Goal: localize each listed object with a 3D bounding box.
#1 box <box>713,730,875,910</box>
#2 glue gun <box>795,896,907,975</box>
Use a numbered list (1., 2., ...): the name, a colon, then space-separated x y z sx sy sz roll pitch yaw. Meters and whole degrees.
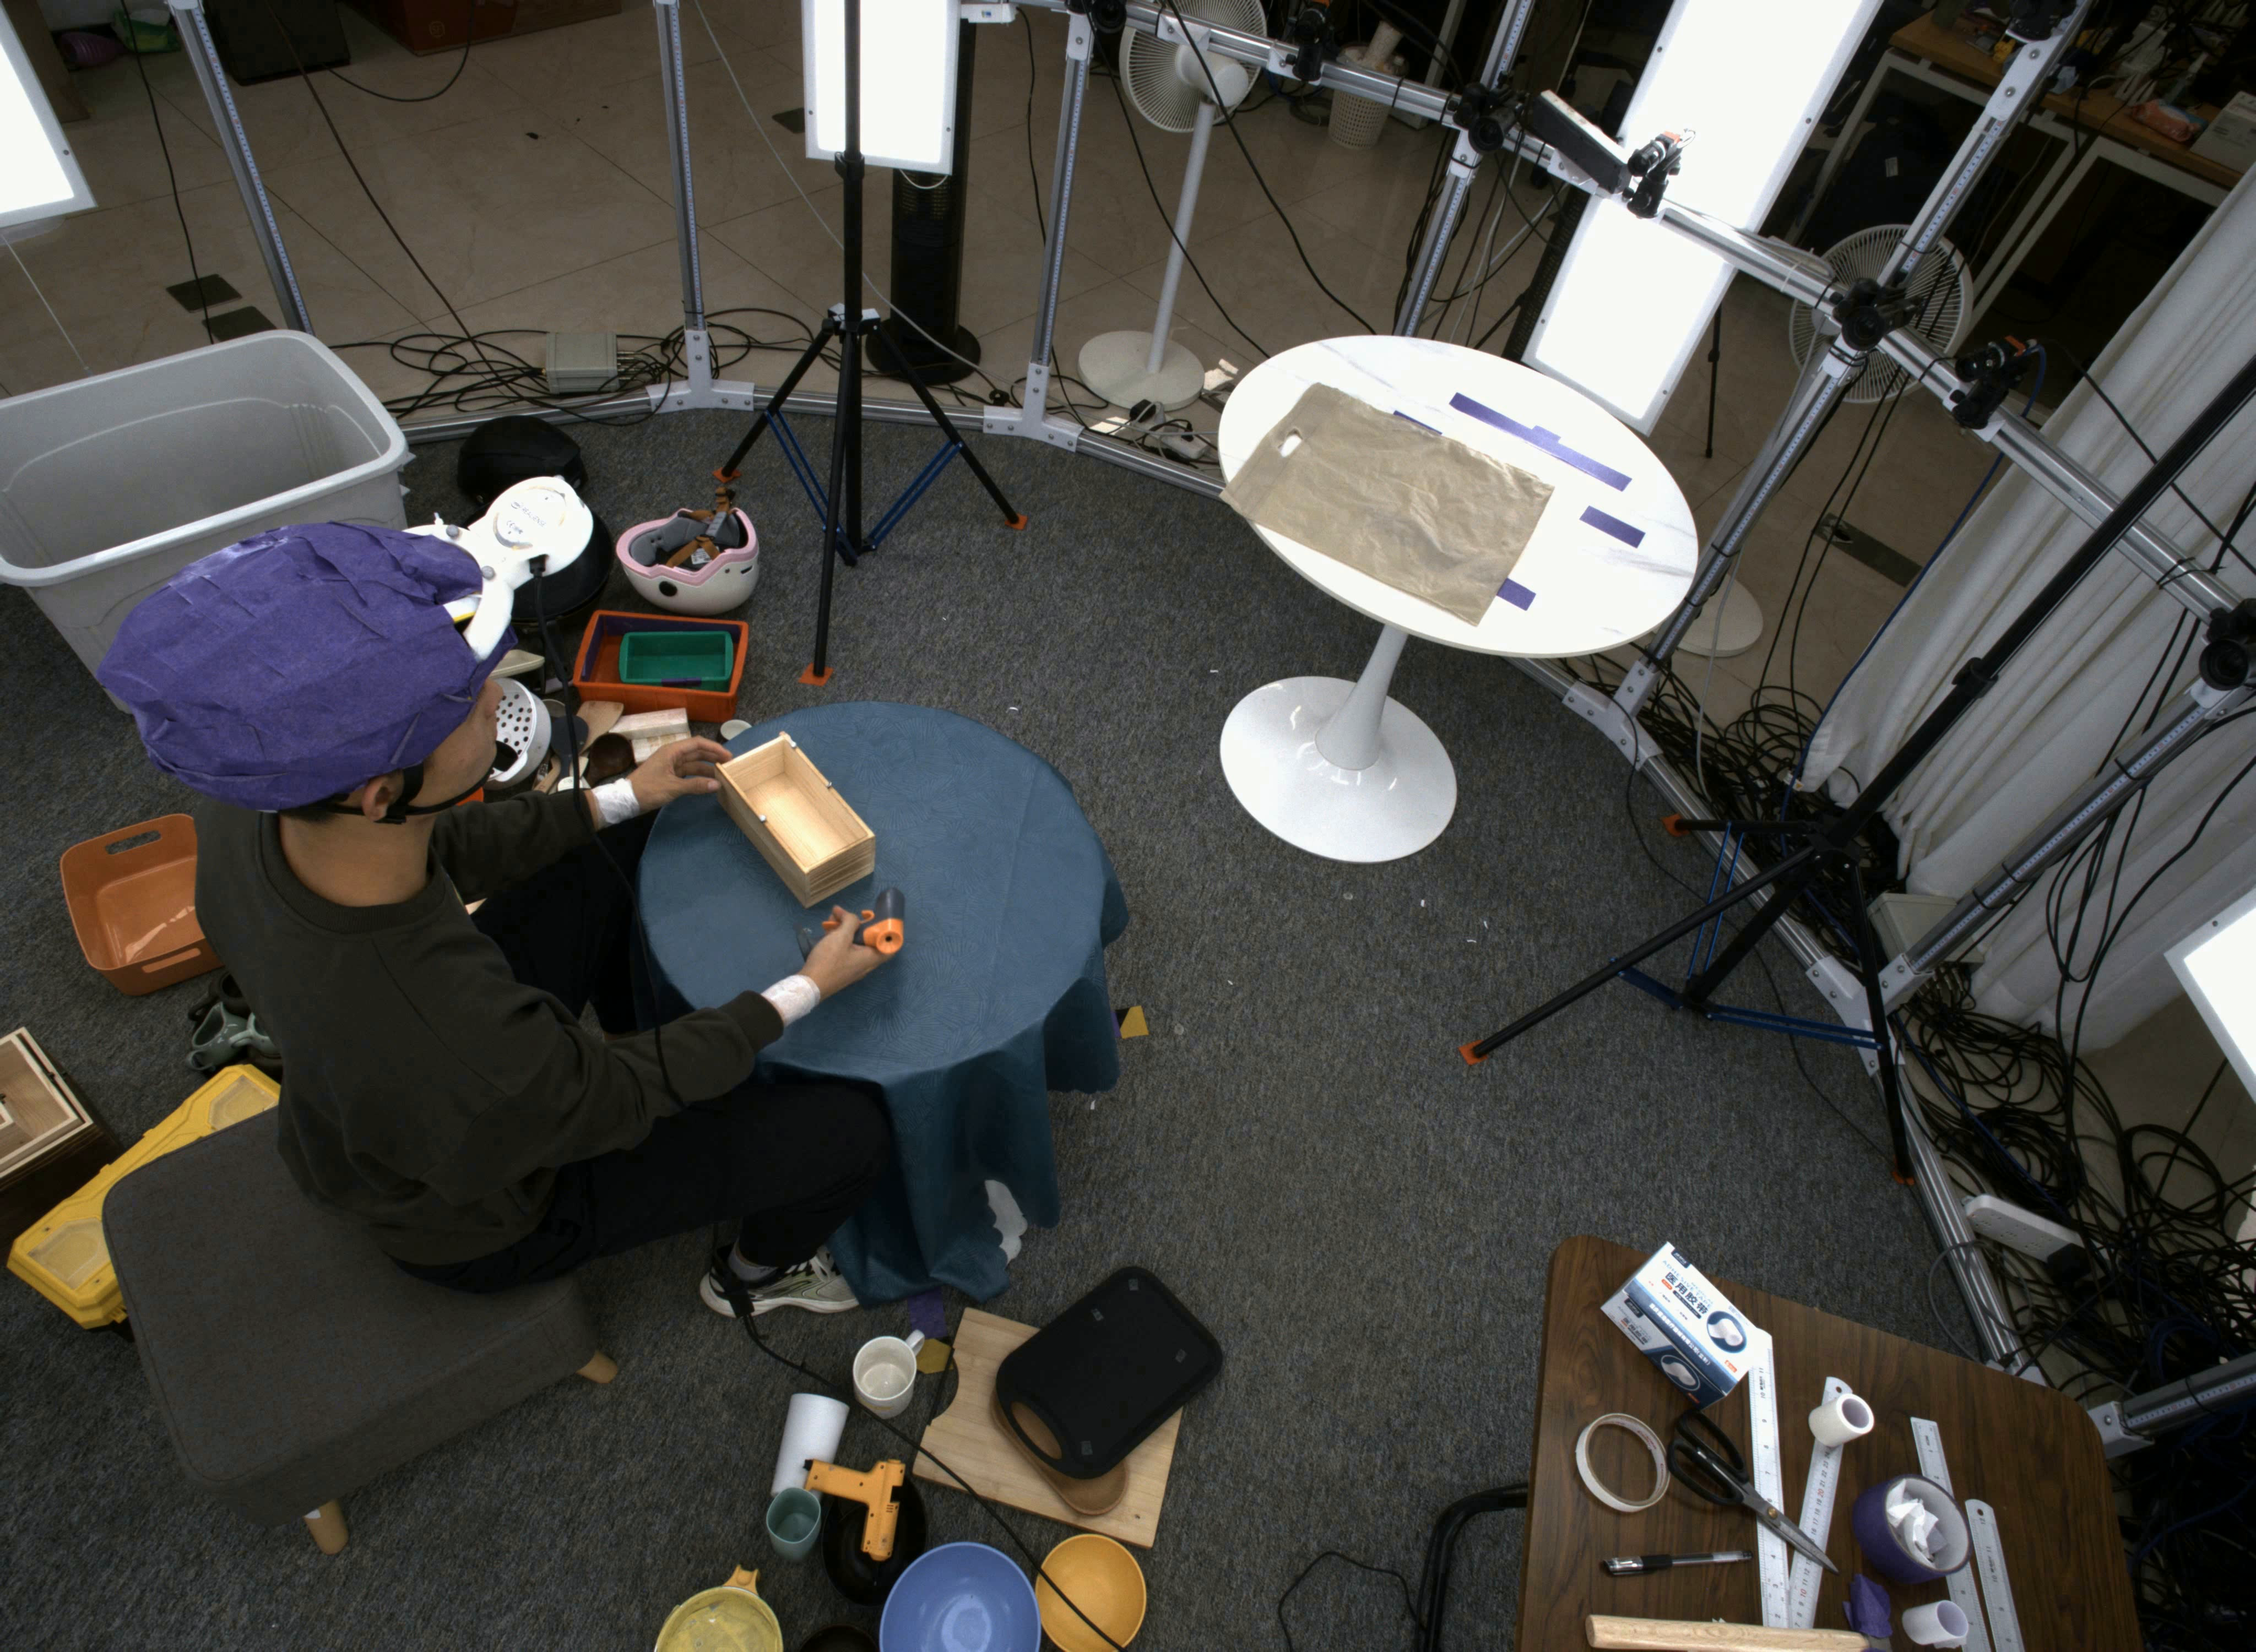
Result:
1. box: -0.431 -0.010 1.674 0.108 0.082 0.206 -33 67 -30
2. glue gun: -0.326 0.126 1.565 0.140 0.042 0.114 -18 21 -19
